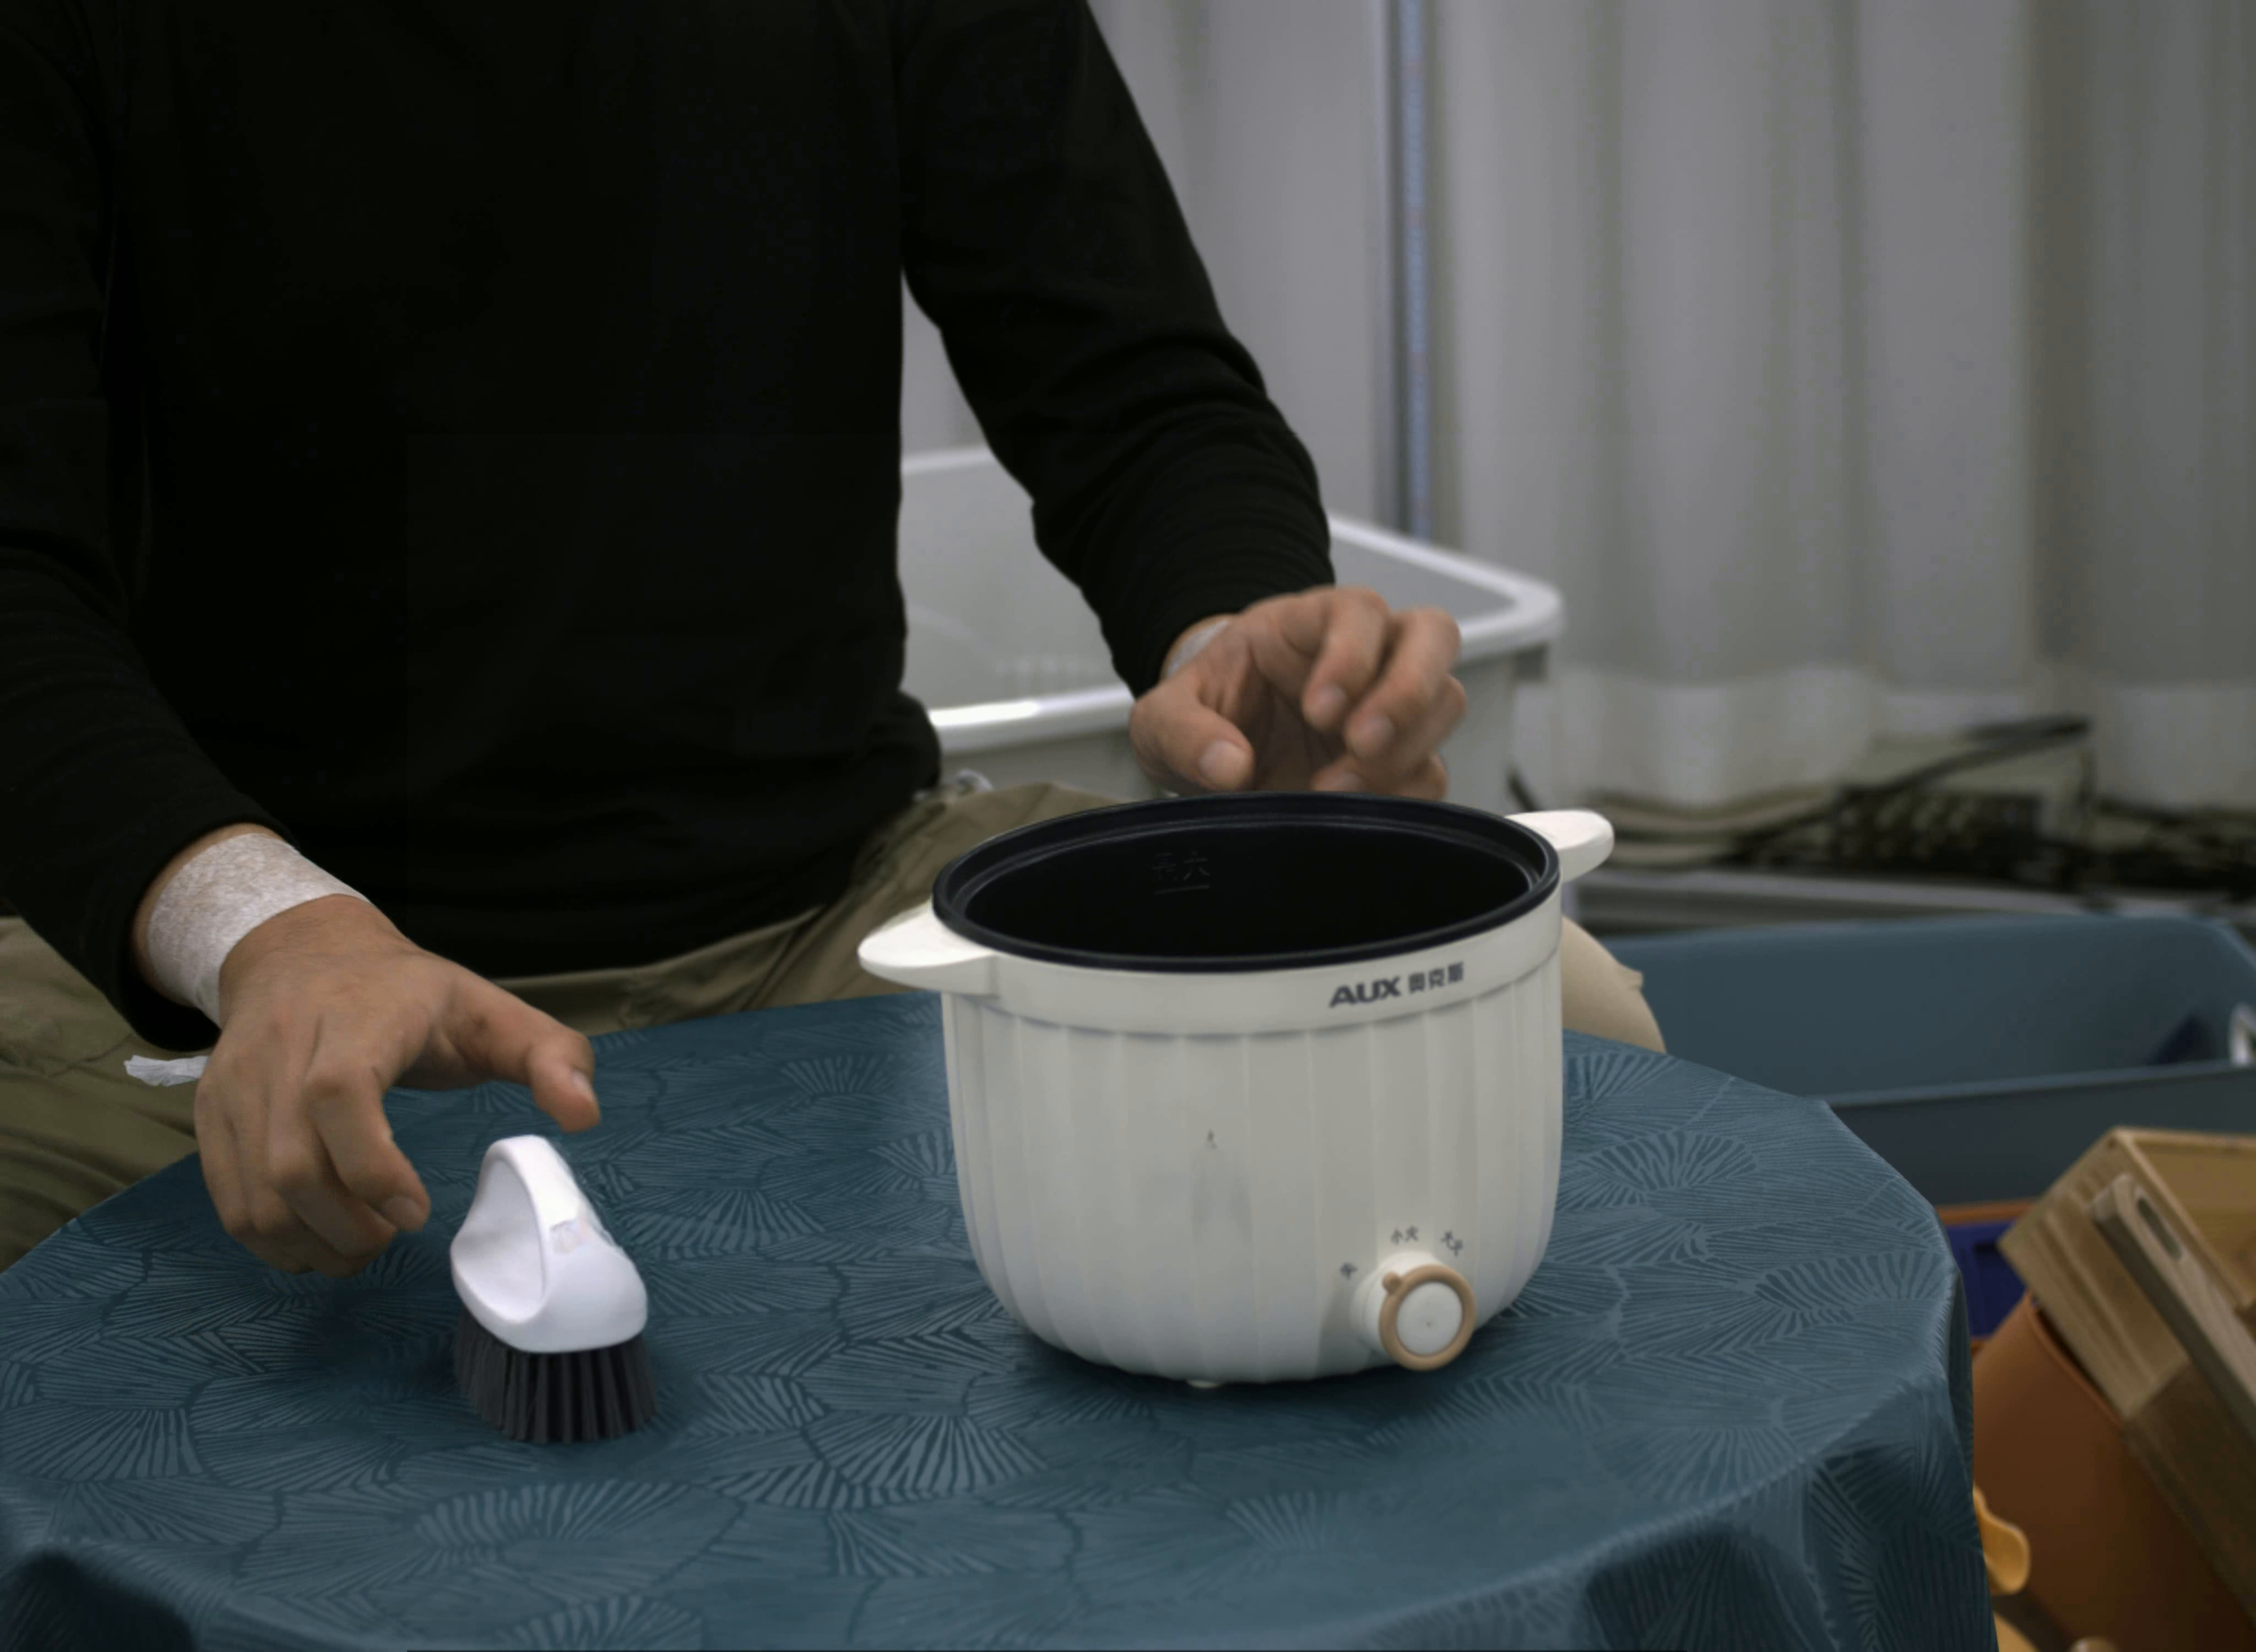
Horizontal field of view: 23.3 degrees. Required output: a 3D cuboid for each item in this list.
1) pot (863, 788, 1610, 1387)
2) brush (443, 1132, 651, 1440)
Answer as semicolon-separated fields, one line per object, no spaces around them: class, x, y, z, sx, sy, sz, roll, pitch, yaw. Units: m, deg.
pot;0.041;0.077;1.579;0.239;0.142;0.192;-11;14;-25
brush;-0.168;0.126;1.563;0.050;0.072;0.100;-6;15;-18
